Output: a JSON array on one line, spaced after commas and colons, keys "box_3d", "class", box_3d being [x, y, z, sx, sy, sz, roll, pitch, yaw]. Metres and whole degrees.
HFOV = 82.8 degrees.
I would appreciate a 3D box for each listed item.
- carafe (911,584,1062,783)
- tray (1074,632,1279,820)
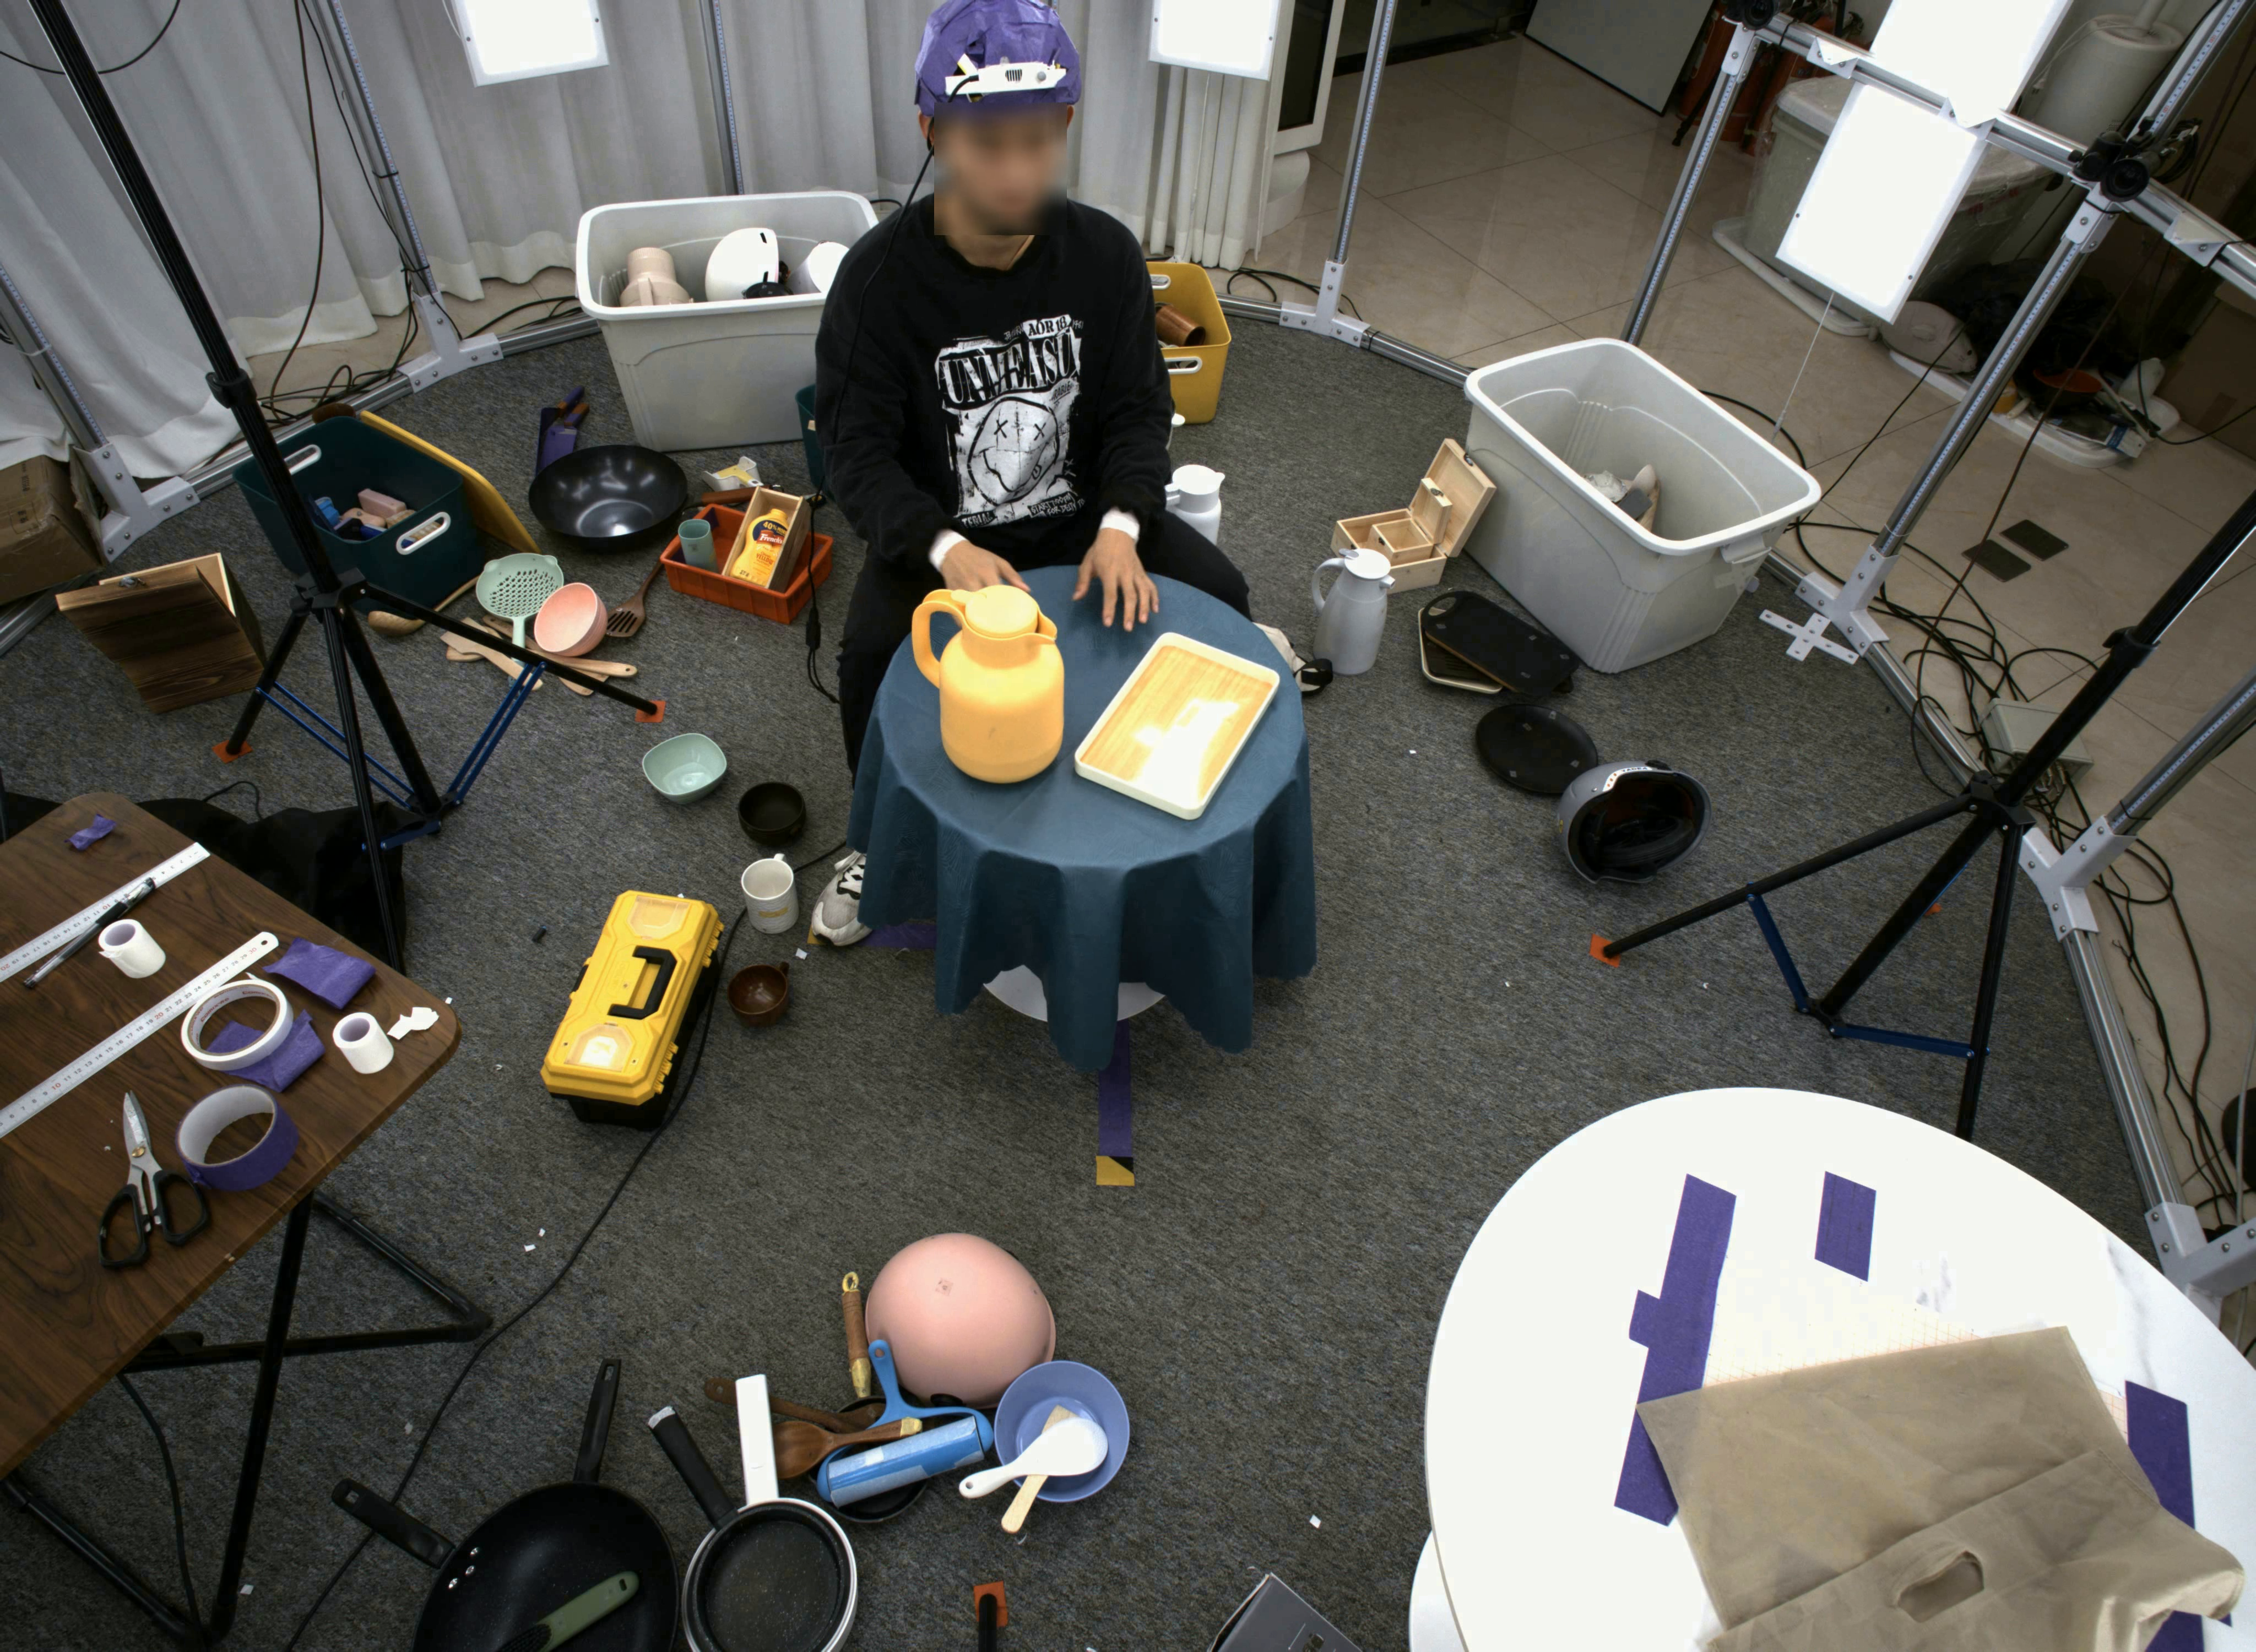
[{"box_3d": [-0.183, -0.196, 1.658, 0.203, 0.254, 0.166, 23, 49, 13], "class": "carafe"}, {"box_3d": [0.071, -0.146, 1.783, 0.193, 0.027, 0.305, 23, 51, 15], "class": "tray"}]
